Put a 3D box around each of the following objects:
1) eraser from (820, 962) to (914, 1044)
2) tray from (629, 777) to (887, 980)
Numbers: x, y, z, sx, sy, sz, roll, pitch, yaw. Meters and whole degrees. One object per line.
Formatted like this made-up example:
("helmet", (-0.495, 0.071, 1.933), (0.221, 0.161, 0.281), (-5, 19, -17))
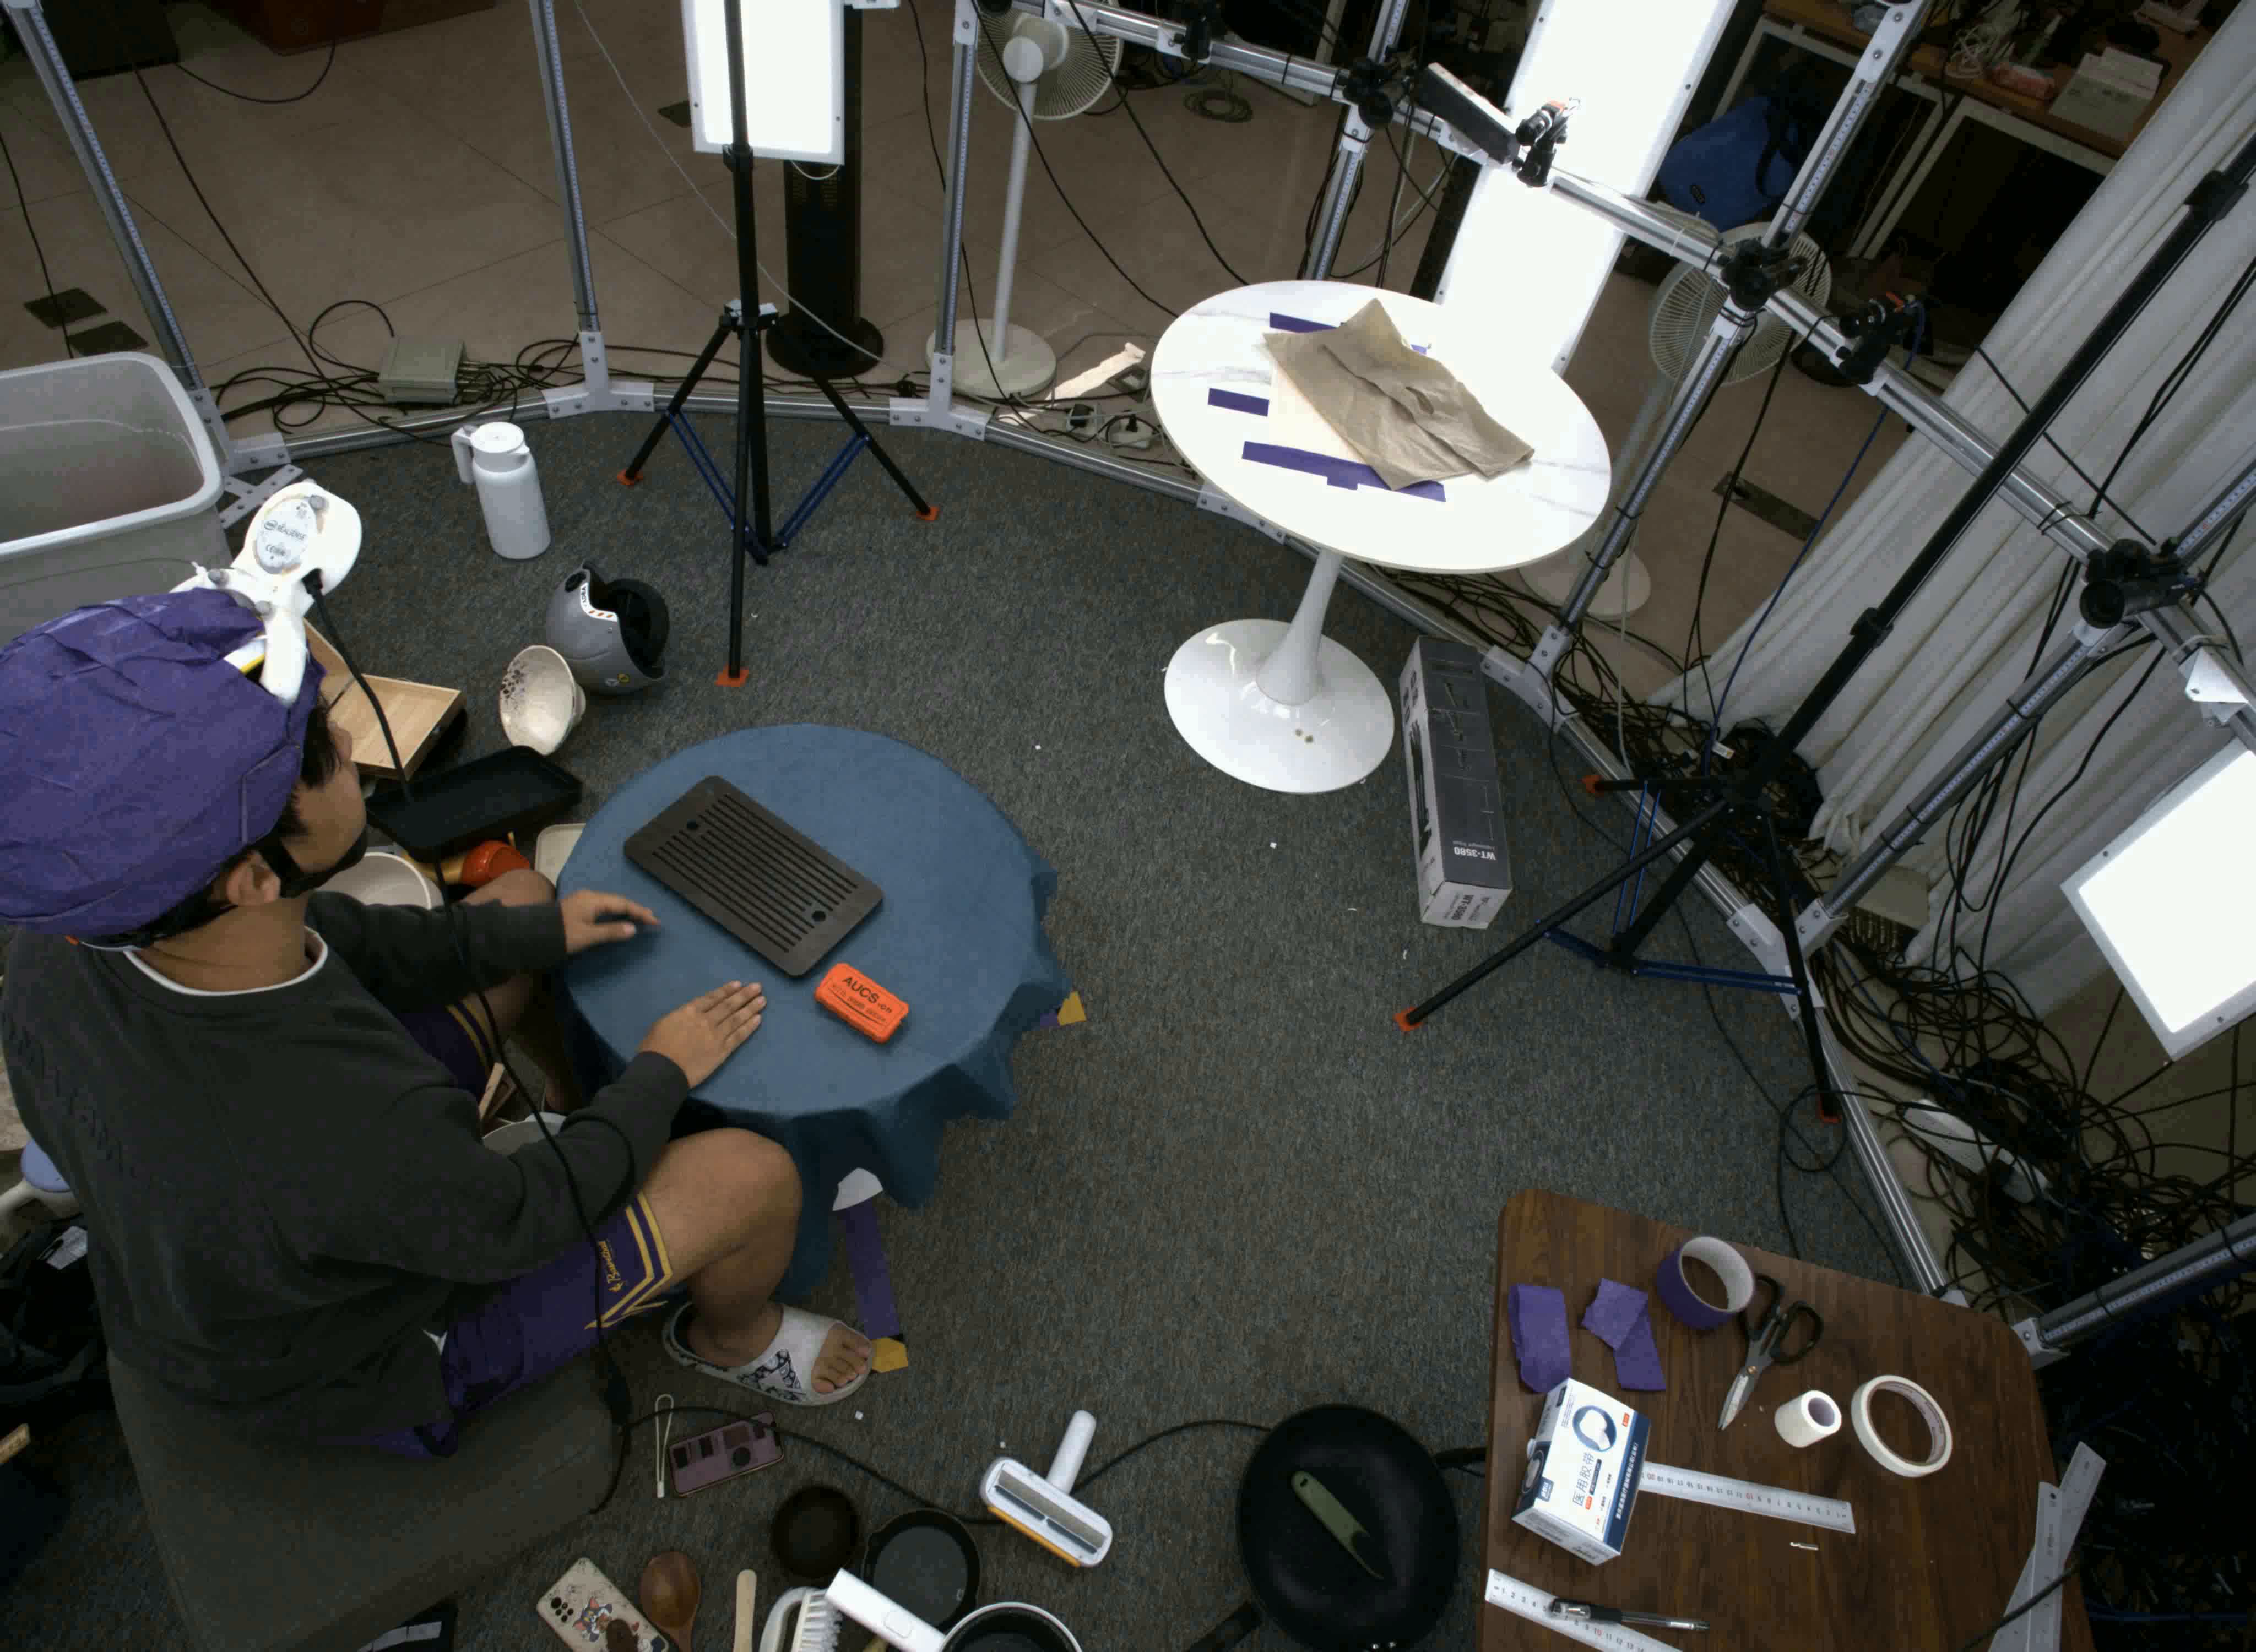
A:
("eraser", (-0.317, 0.212, 1.579), (0.106, 0.023, 0.059), (32, 53, 9))
("tray", (-0.475, 0.063, 1.658), (0.300, 0.019, 0.170), (33, 53, 11))
